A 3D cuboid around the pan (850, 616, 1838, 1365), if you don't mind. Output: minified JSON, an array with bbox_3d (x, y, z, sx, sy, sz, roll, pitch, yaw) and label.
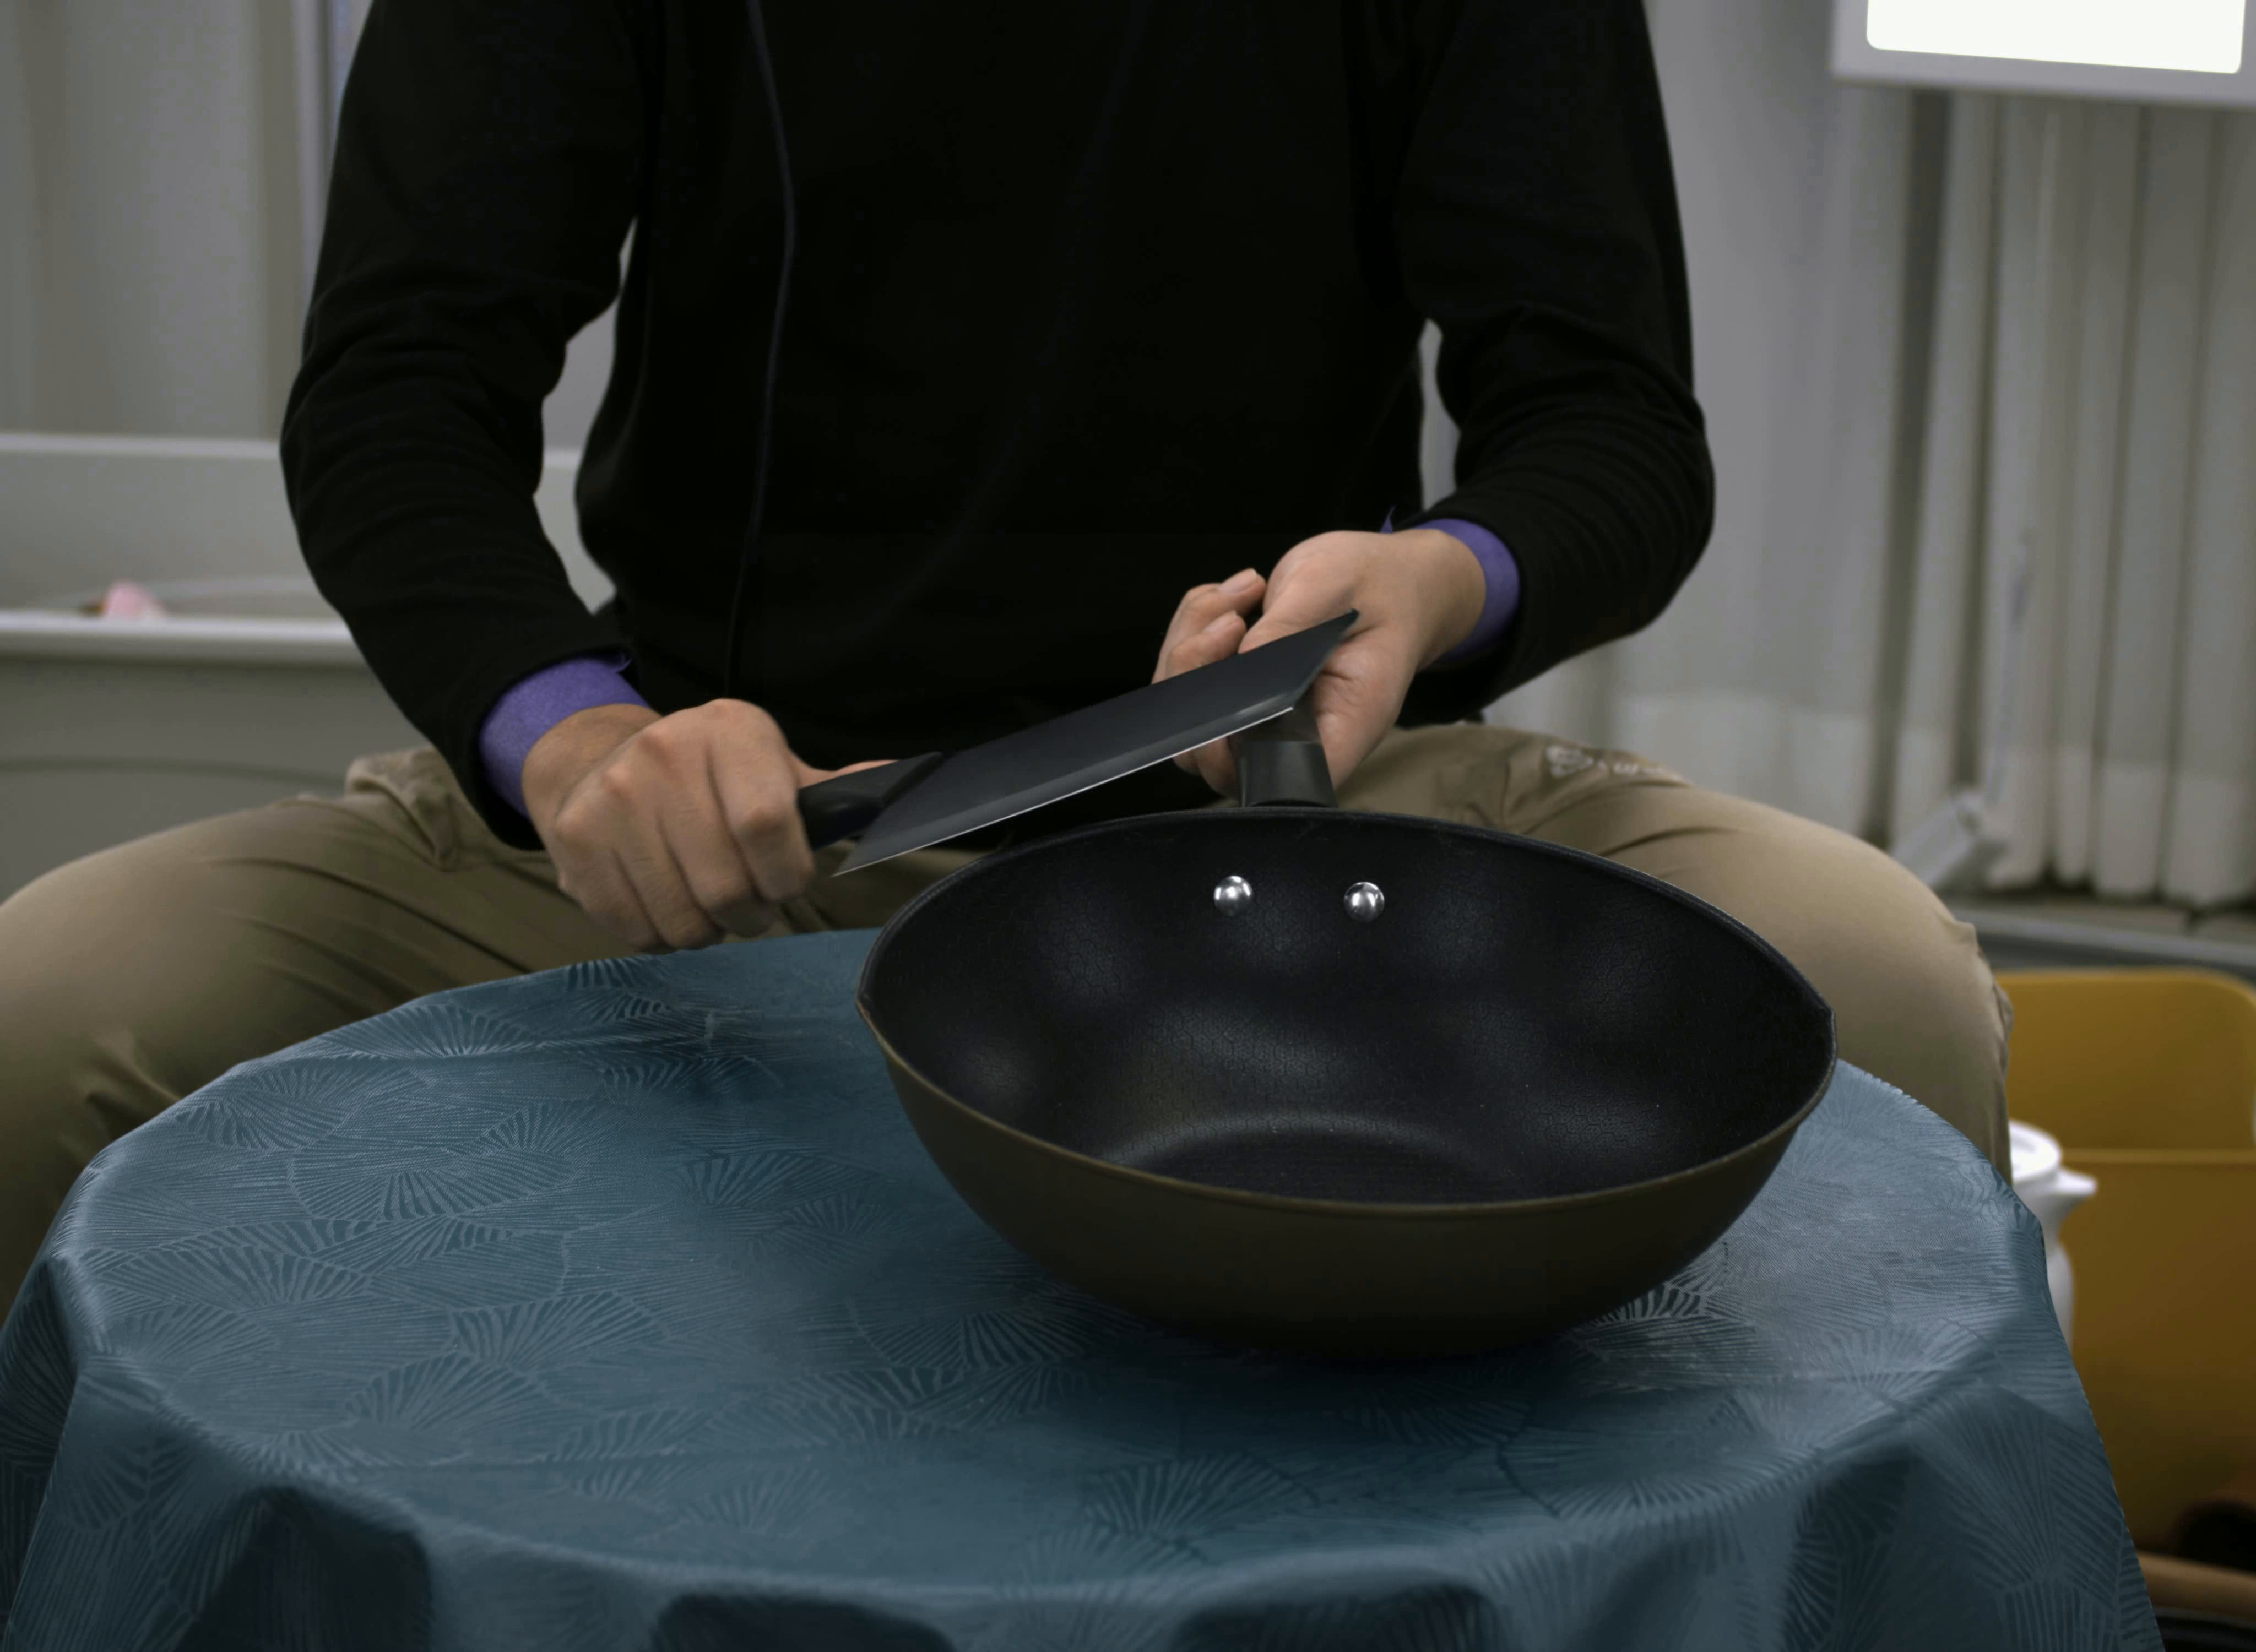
[{"bbox_3d":[0.055,0.049,1.620,0.288,0.087,0.459,2,23,-5],"label":"pan"}]

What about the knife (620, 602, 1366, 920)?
[{"bbox_3d":[-0.051,-0.014,1.653,0.300,0.021,0.081,-17,22,40],"label":"knife"}]
